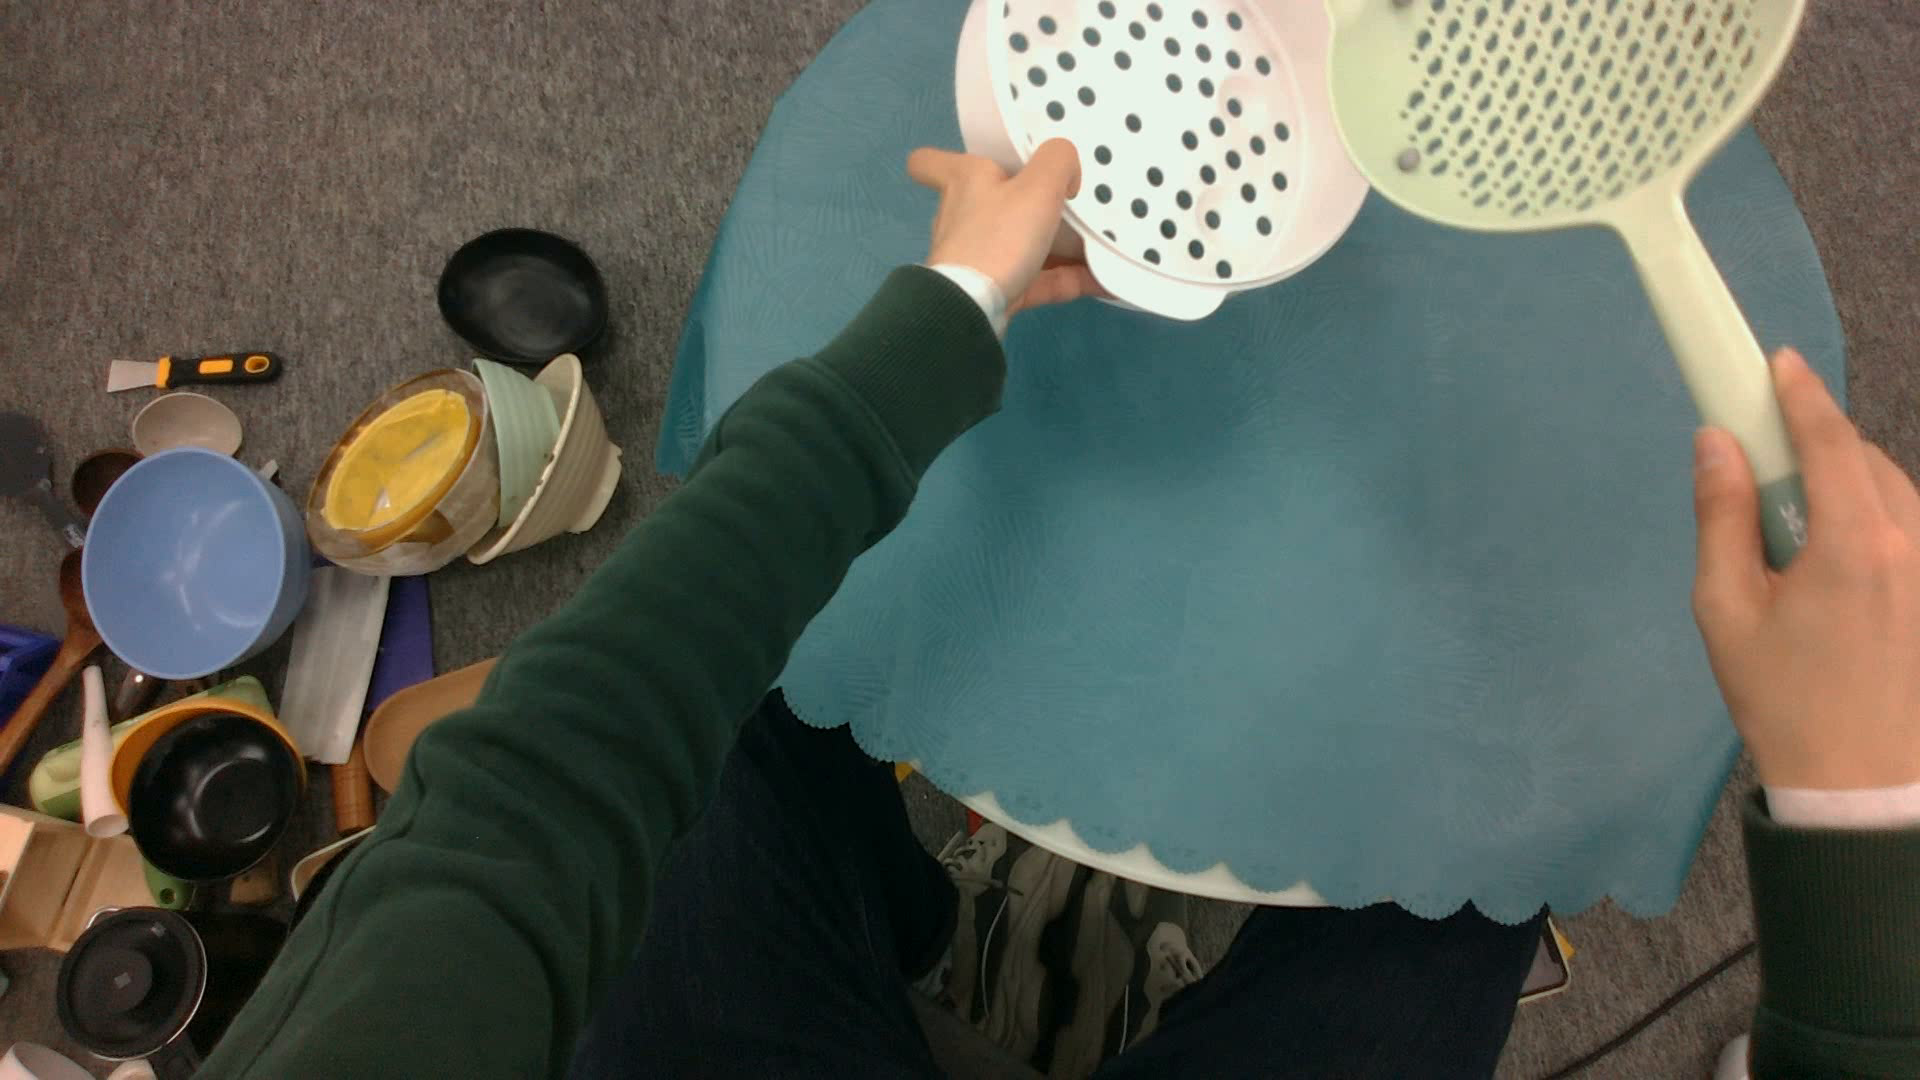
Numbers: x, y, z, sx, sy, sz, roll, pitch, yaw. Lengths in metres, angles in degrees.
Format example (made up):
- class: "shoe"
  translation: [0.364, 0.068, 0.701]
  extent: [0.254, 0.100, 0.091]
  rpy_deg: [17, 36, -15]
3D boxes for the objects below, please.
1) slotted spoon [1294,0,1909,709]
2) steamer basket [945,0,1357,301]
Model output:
- class: "slotted spoon"
  translation: [0.237, -0.114, 0.485]
  extent: [0.168, 0.075, 0.360]
  rpy_deg: [-30, 60, 34]
- class: "steamer basket"
  translation: [0.091, -0.217, 0.650]
  extent: [0.202, 0.069, 0.231]
  rpy_deg: [15, 79, -19]
